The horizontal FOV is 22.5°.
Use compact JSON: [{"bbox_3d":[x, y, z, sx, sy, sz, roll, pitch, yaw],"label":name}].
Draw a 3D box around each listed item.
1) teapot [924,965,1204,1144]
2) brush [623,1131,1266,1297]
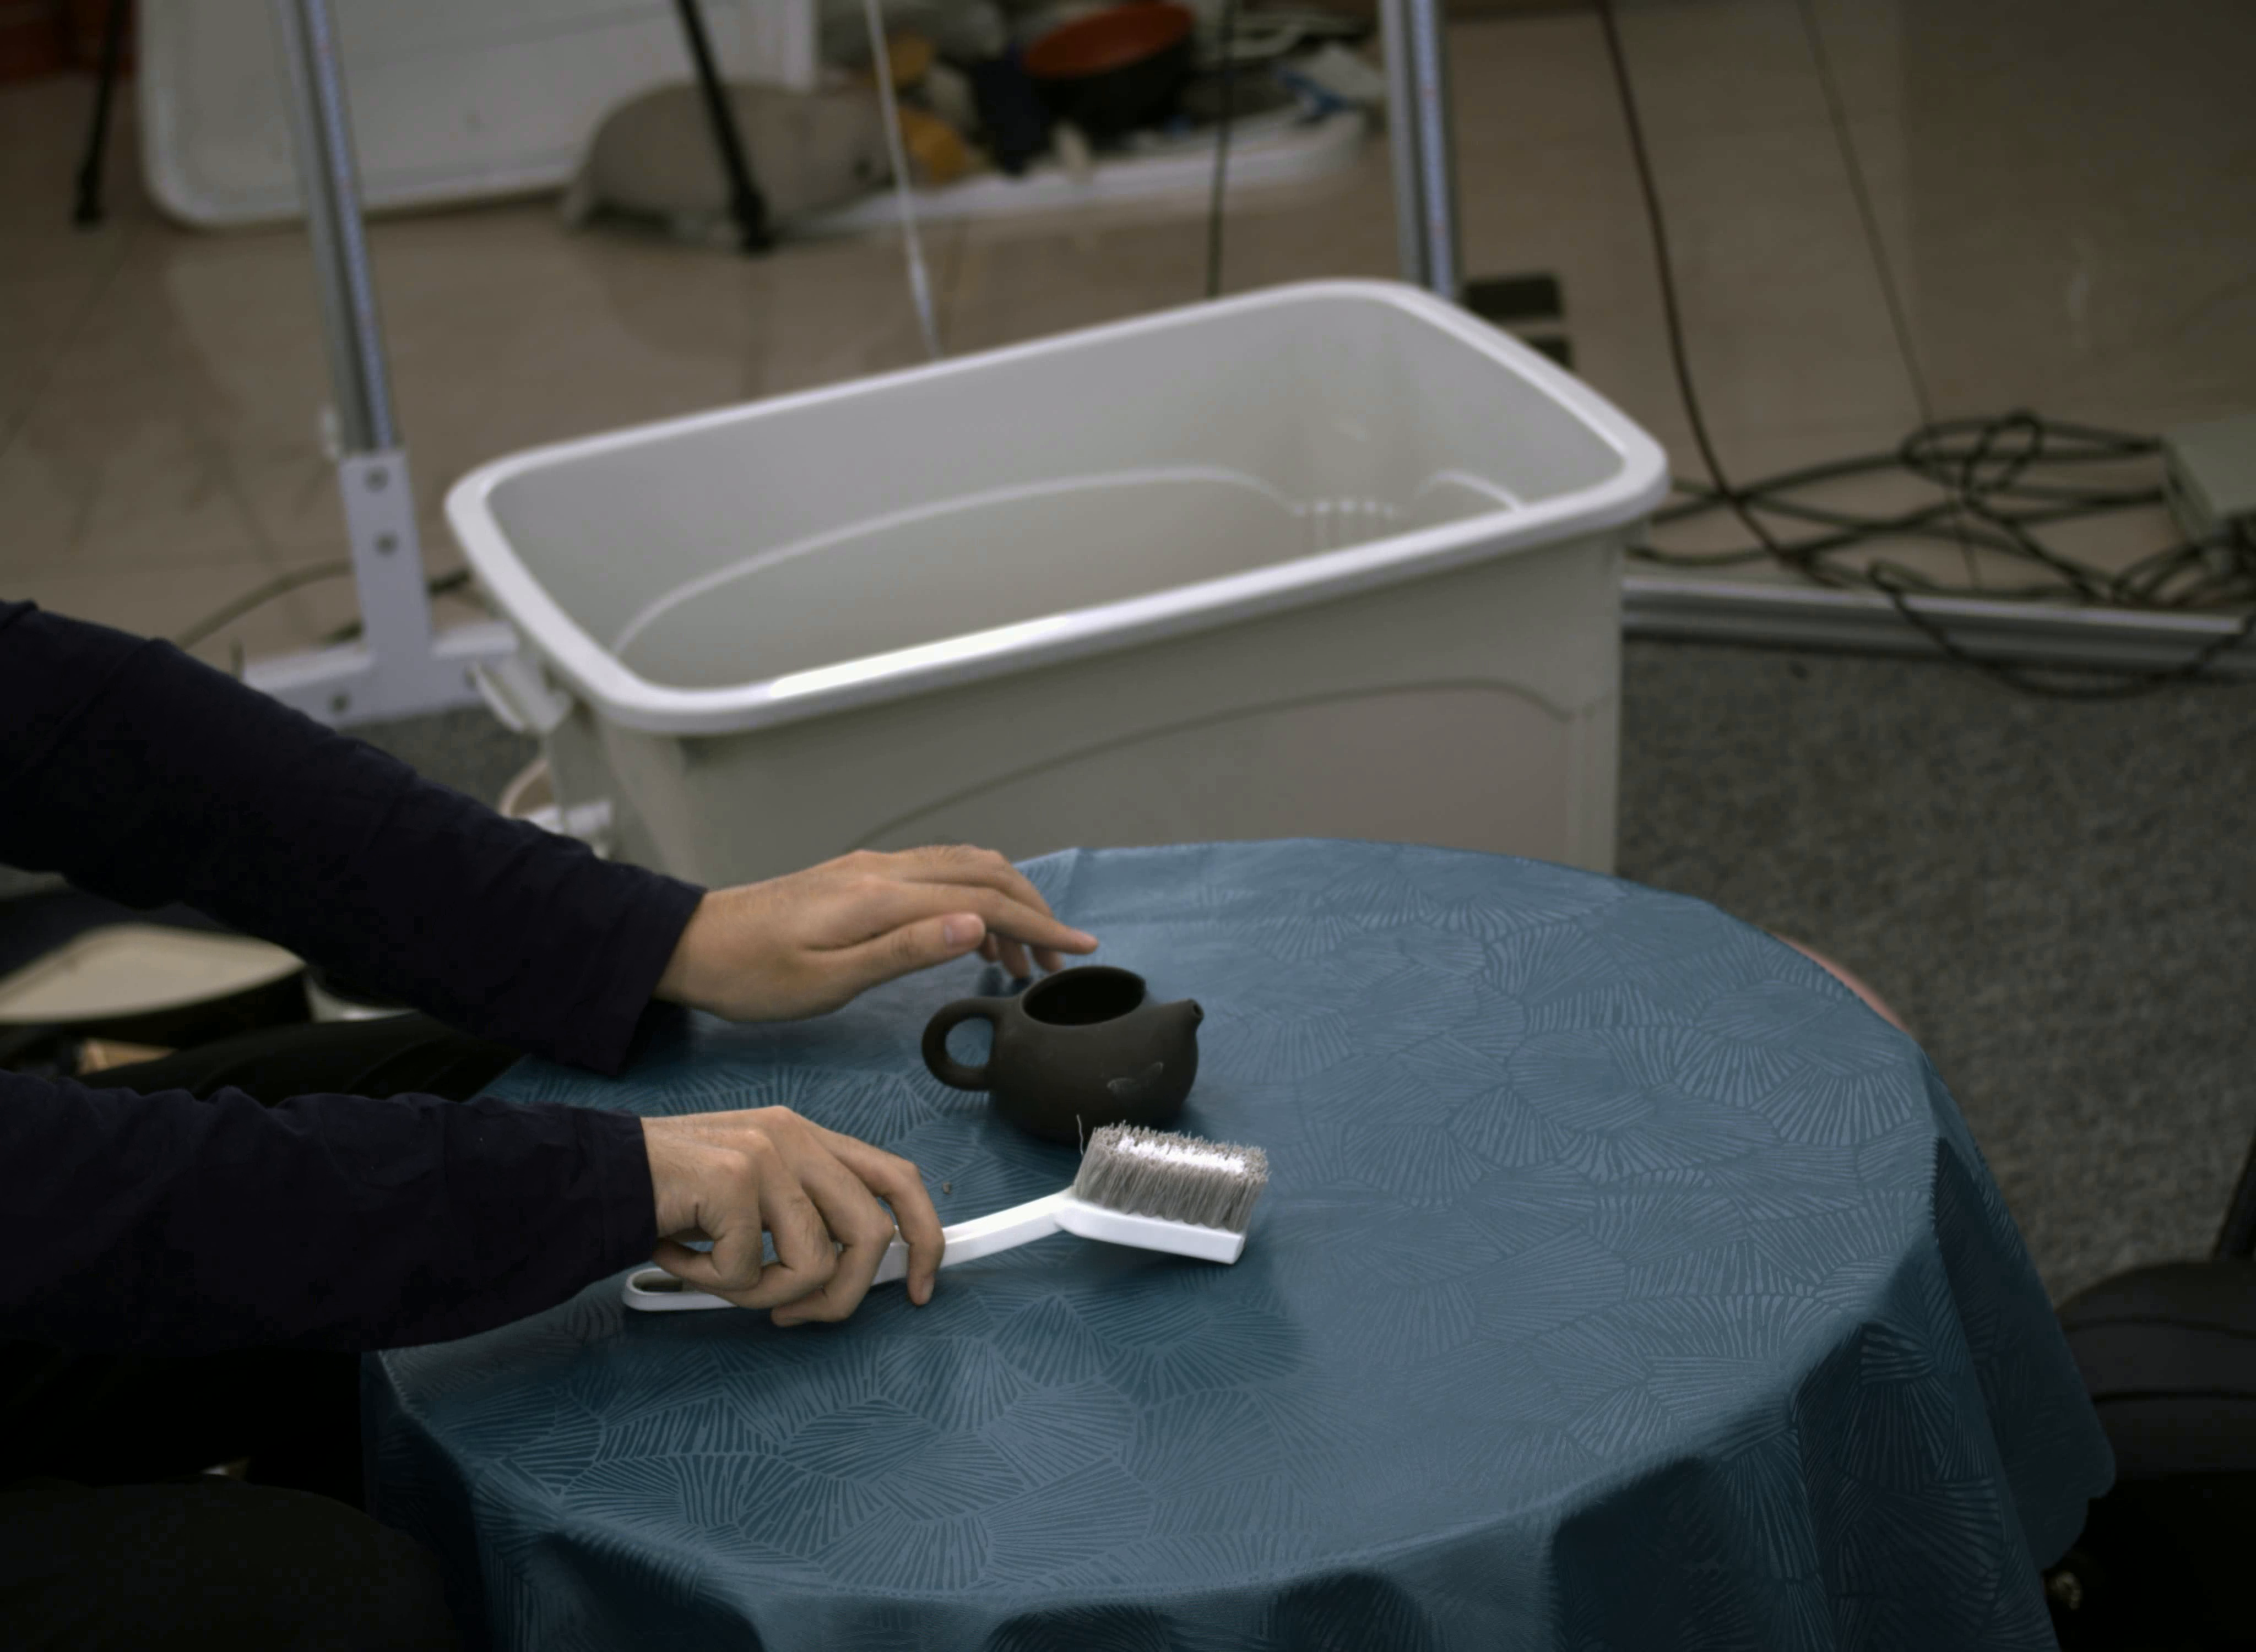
[{"bbox_3d":[-0.024,0.088,2.203,0.114,0.054,0.082,1,27,15],"label":"teapot"},{"bbox_3d":[-0.069,0.144,2.097,0.243,0.051,0.034,-4,29,5],"label":"brush"}]
